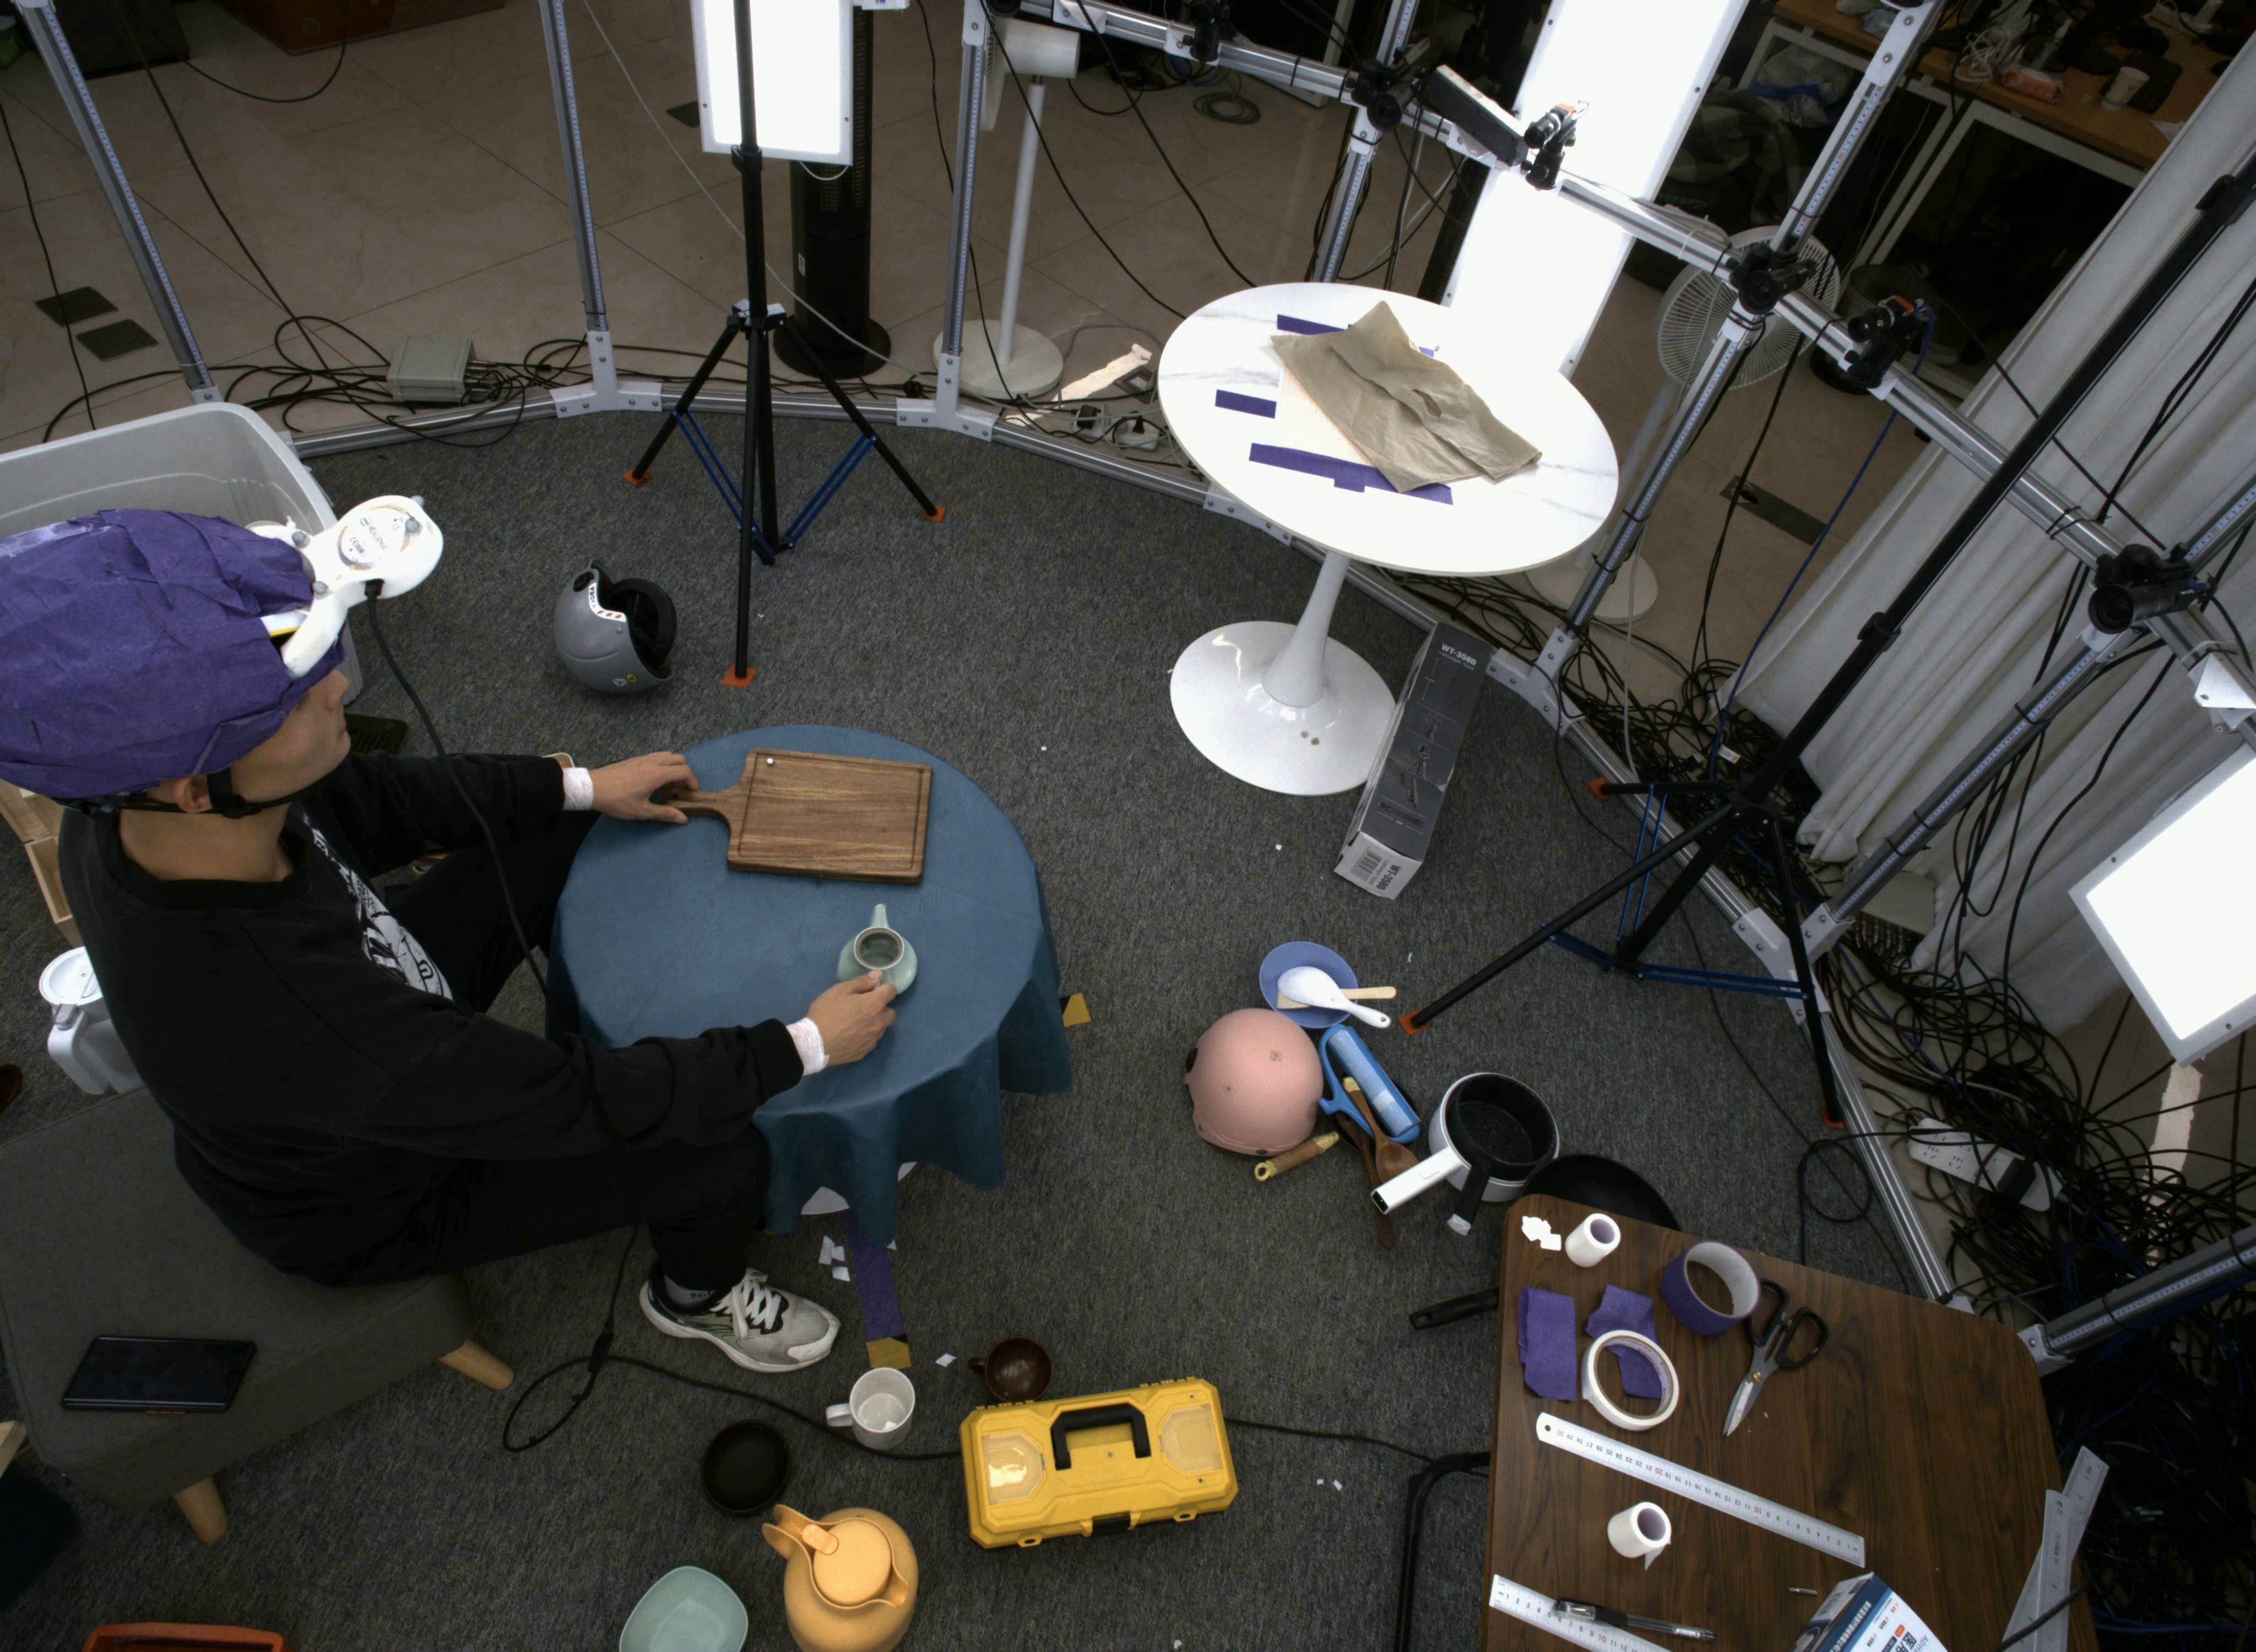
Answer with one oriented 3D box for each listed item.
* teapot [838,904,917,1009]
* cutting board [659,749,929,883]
[{"bbox_3d":[-0.306,0.165,1.589,0.096,0.062,0.134,3,52,-15],"label":"teapot"},{"bbox_3d":[-0.441,-0.019,1.717,0.352,0.023,0.197,5,53,-12],"label":"cutting board"}]
